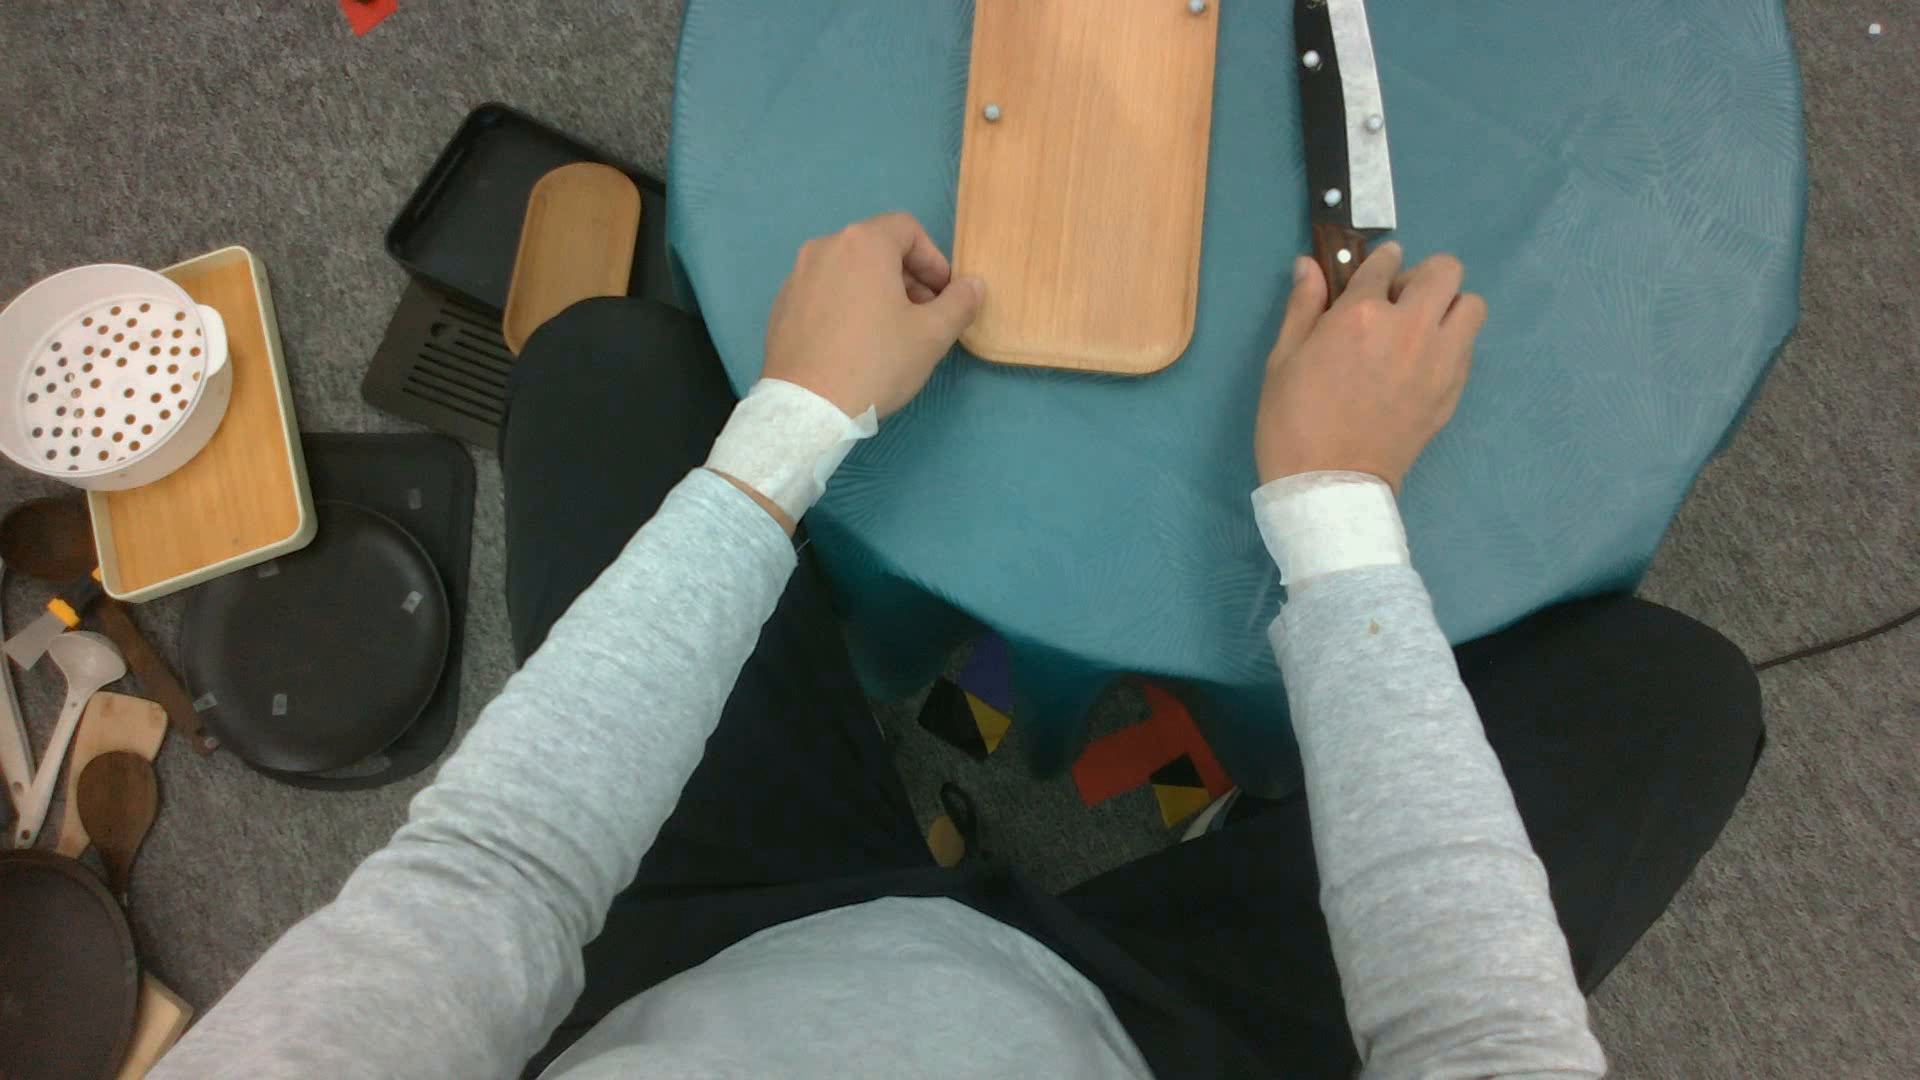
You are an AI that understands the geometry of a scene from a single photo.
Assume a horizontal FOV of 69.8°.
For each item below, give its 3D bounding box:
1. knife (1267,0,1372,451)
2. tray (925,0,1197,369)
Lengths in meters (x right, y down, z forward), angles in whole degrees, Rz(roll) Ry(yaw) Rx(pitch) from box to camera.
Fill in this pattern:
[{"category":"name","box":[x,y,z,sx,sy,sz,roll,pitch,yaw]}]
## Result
[{"category":"knife","box":[0.191,-0.187,0.719,0.050,0.020,0.289,0,79,-6]},{"category":"tray","box":[0.055,-0.213,0.724,0.130,0.023,0.251,6,81,3]}]
